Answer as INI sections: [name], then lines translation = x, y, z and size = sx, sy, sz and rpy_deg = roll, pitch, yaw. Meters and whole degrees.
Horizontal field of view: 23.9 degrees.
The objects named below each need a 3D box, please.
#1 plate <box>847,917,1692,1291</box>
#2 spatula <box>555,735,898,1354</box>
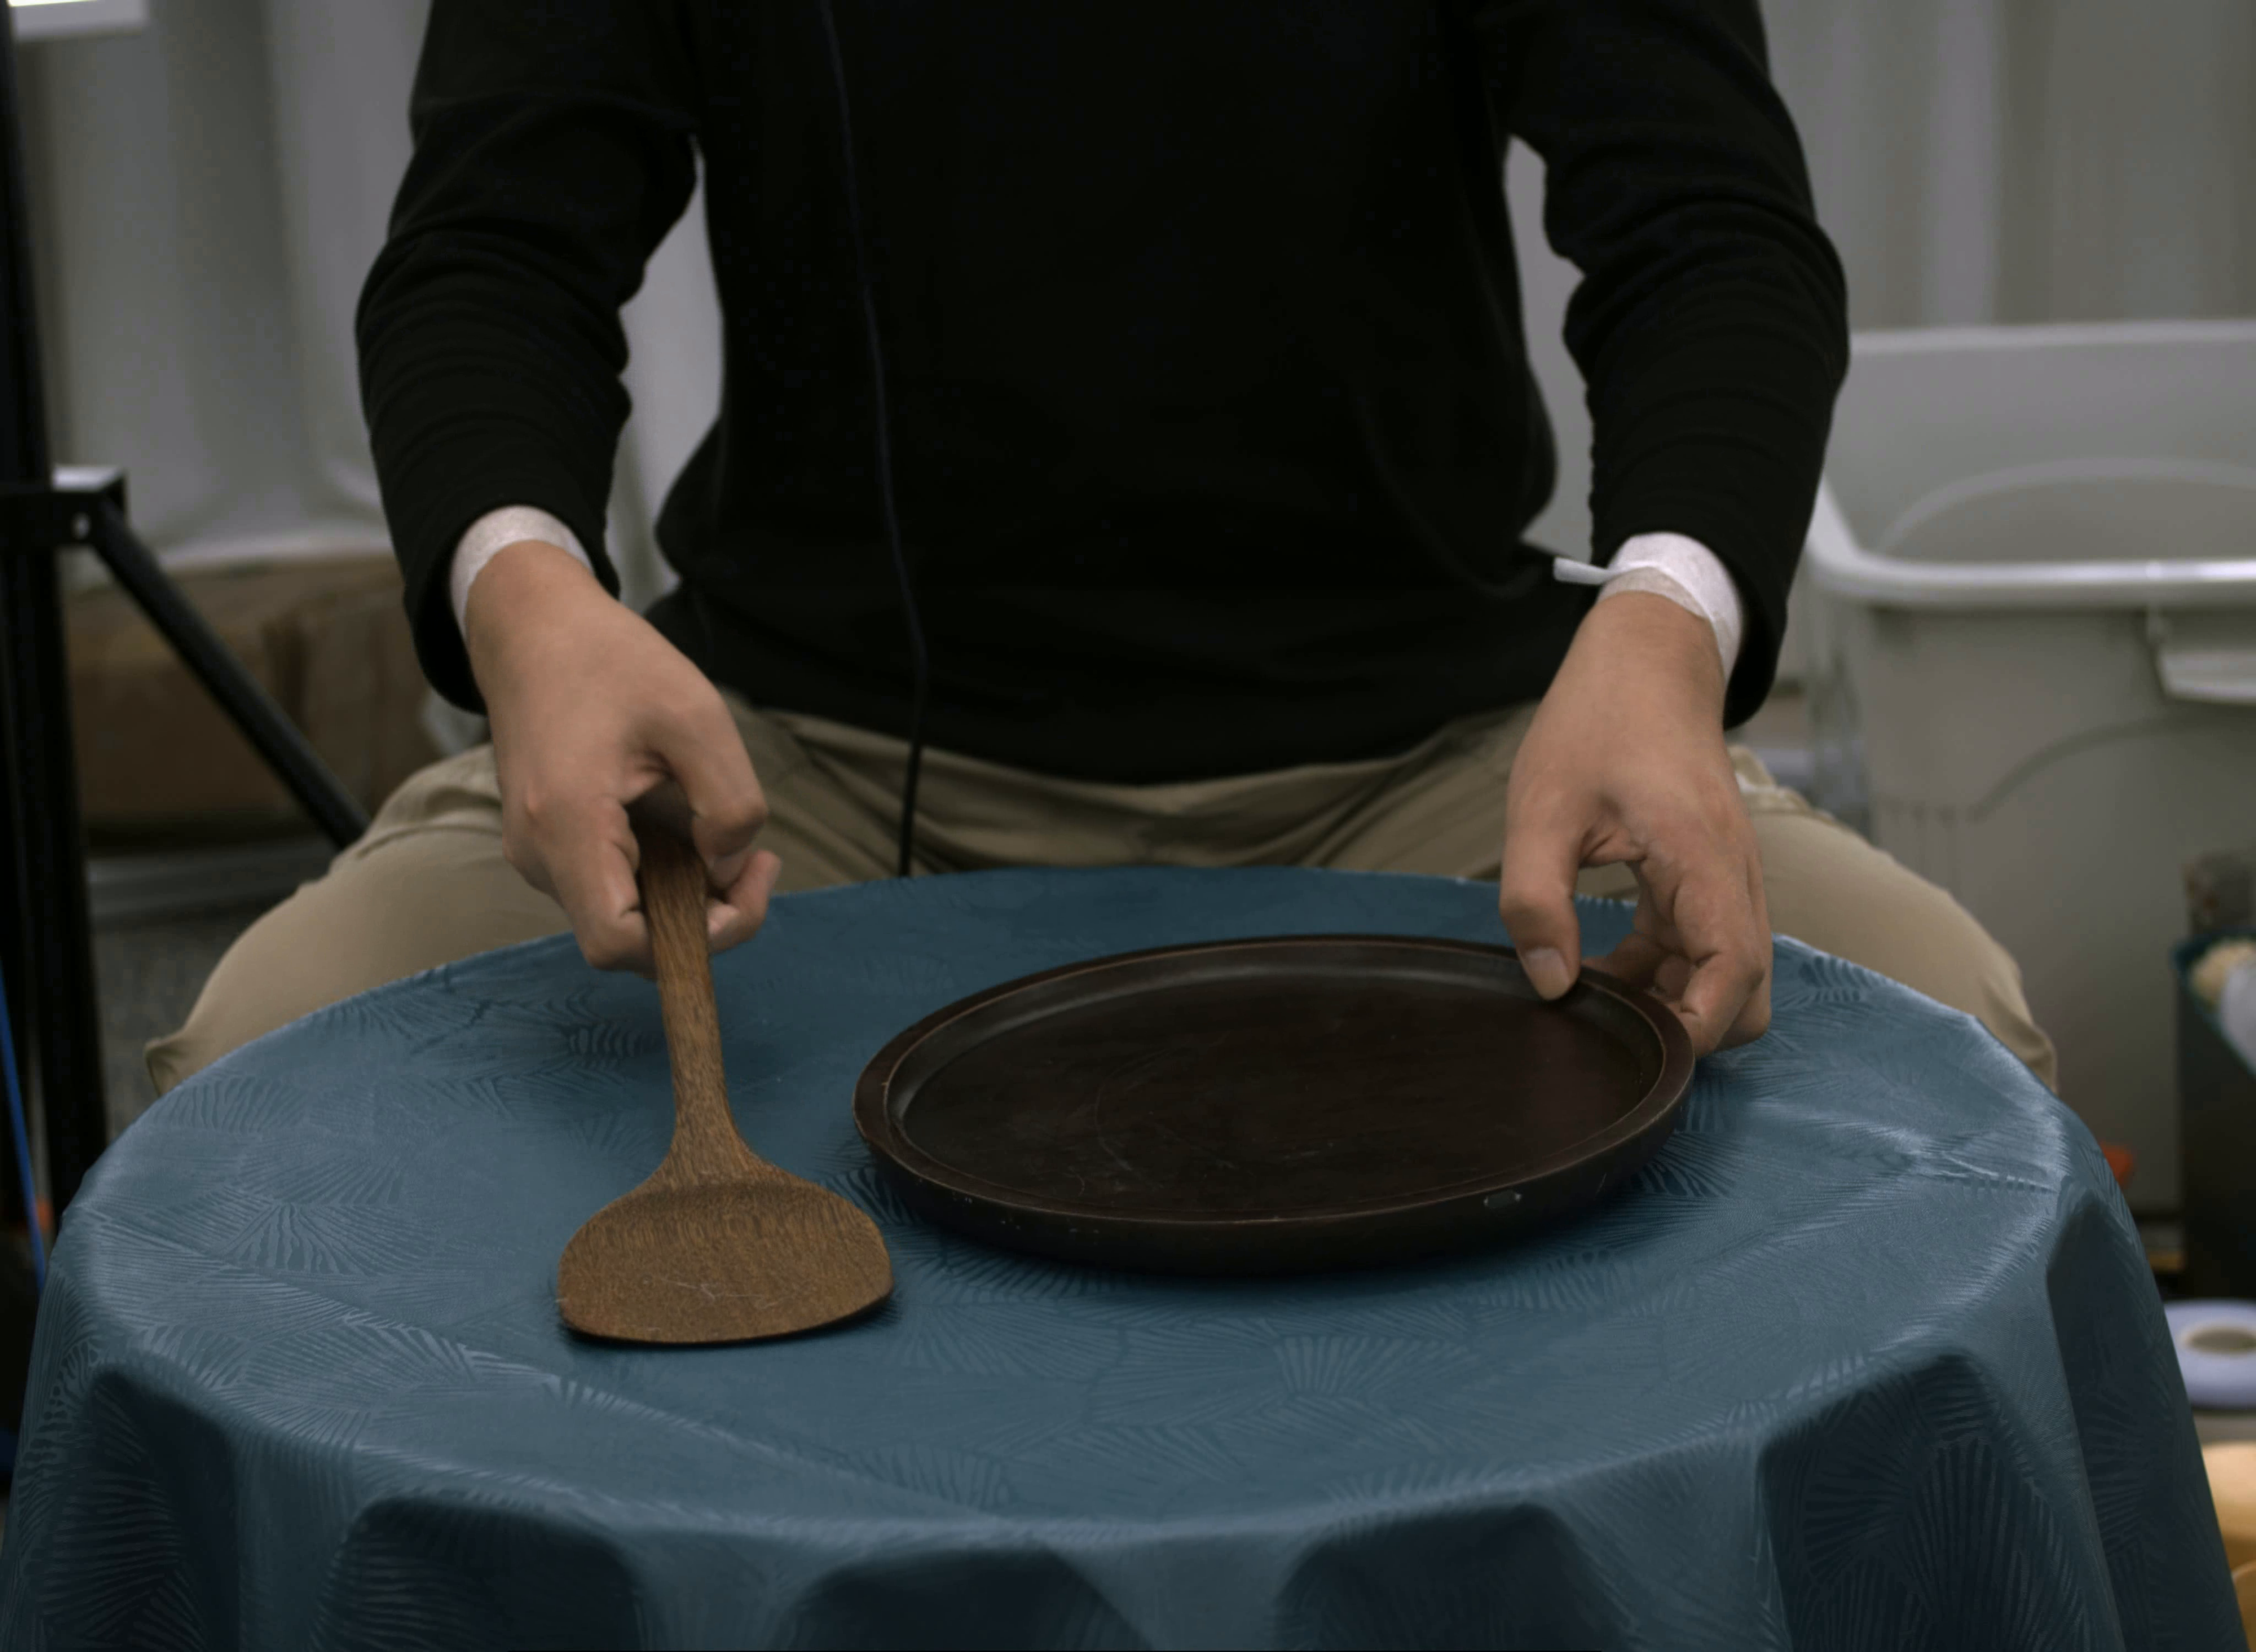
[plate]
translation = 0.042, 0.084, 1.586
size = 0.253, 0.029, 0.256
rpy_deg = -4, 18, 0
[spatula]
translation = -0.133, 0.056, 1.625
size = 0.095, 0.016, 0.391
rpy_deg = -5, 28, -6
